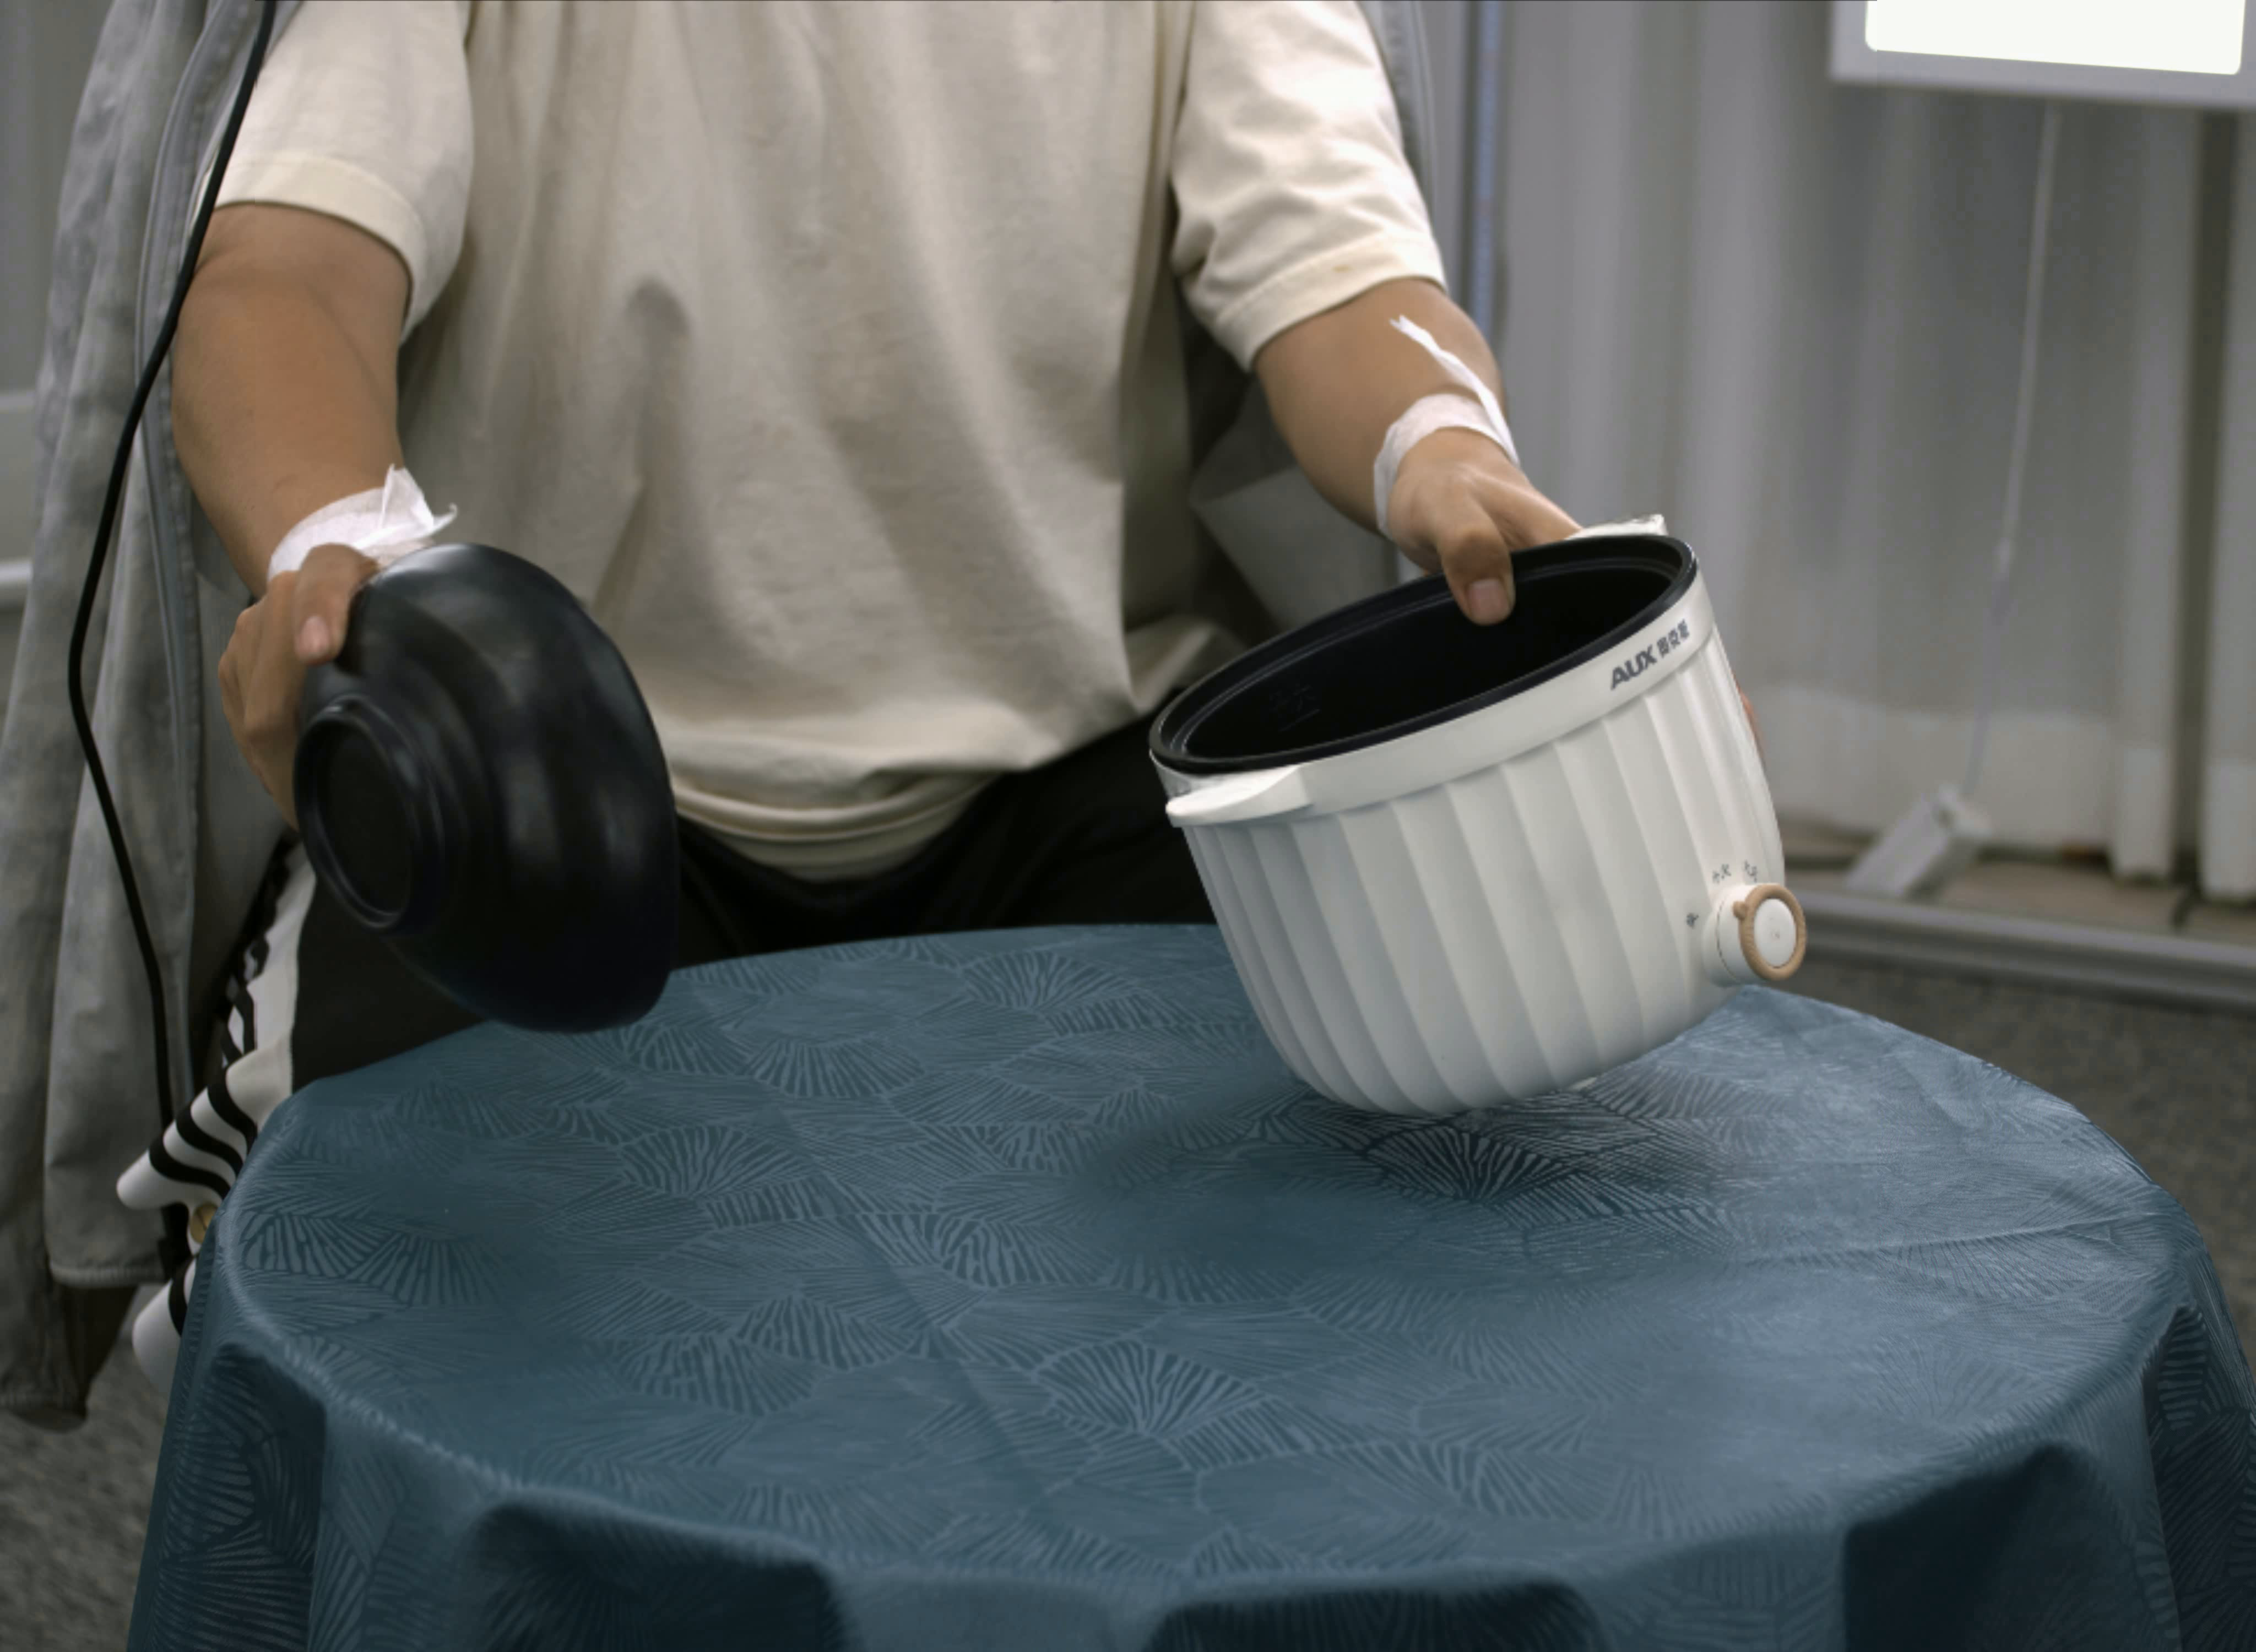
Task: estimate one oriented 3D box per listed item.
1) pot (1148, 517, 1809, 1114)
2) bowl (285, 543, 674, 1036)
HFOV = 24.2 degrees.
[{"bbox_3d":[0.118,0.002,1.663,0.189,0.144,0.240,-10,18,45],"label":"pot"},{"bbox_3d":[-0.200,-0.008,1.538,0.067,0.138,0.168,-15,49,-38],"label":"bowl"}]
